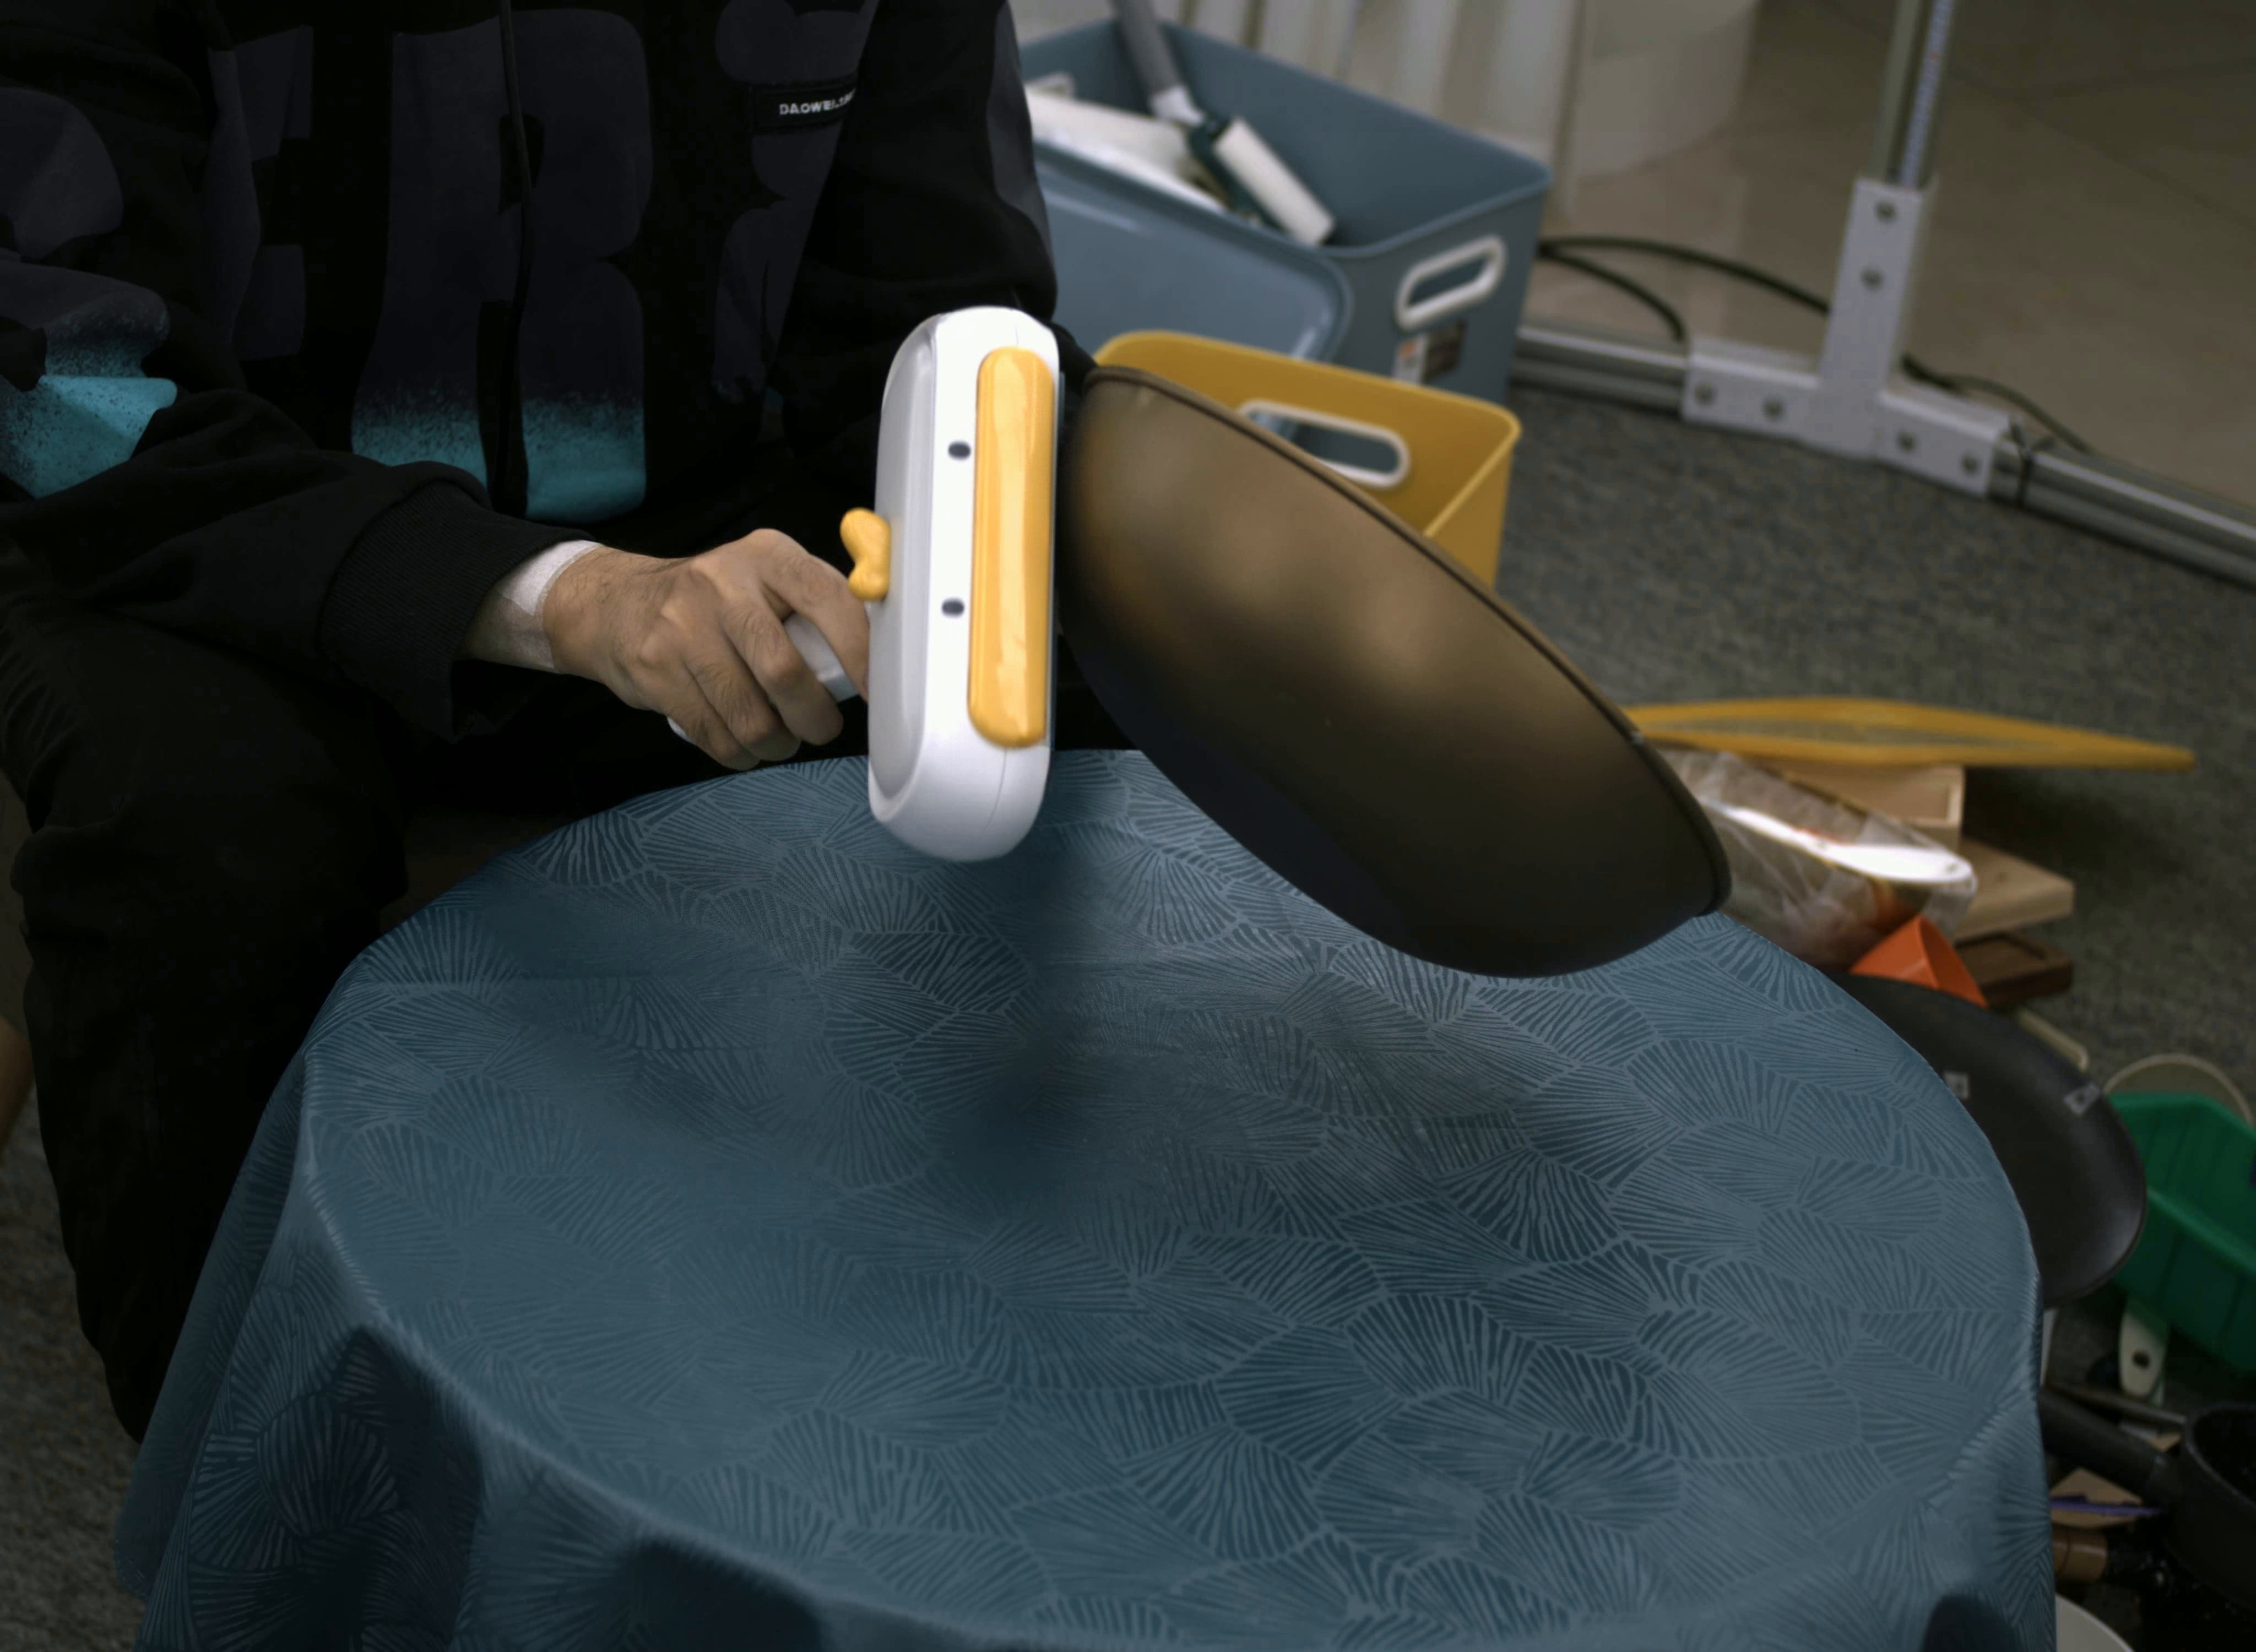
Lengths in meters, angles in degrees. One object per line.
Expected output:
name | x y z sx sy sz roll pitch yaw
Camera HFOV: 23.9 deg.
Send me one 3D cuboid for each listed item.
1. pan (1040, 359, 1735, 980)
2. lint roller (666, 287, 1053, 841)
pan | 0.028 -0.054 1.876 0.087 0.286 0.466 -50 28 -9
lint roller | -0.092 -0.068 1.823 0.073 0.192 0.194 9 64 -30
